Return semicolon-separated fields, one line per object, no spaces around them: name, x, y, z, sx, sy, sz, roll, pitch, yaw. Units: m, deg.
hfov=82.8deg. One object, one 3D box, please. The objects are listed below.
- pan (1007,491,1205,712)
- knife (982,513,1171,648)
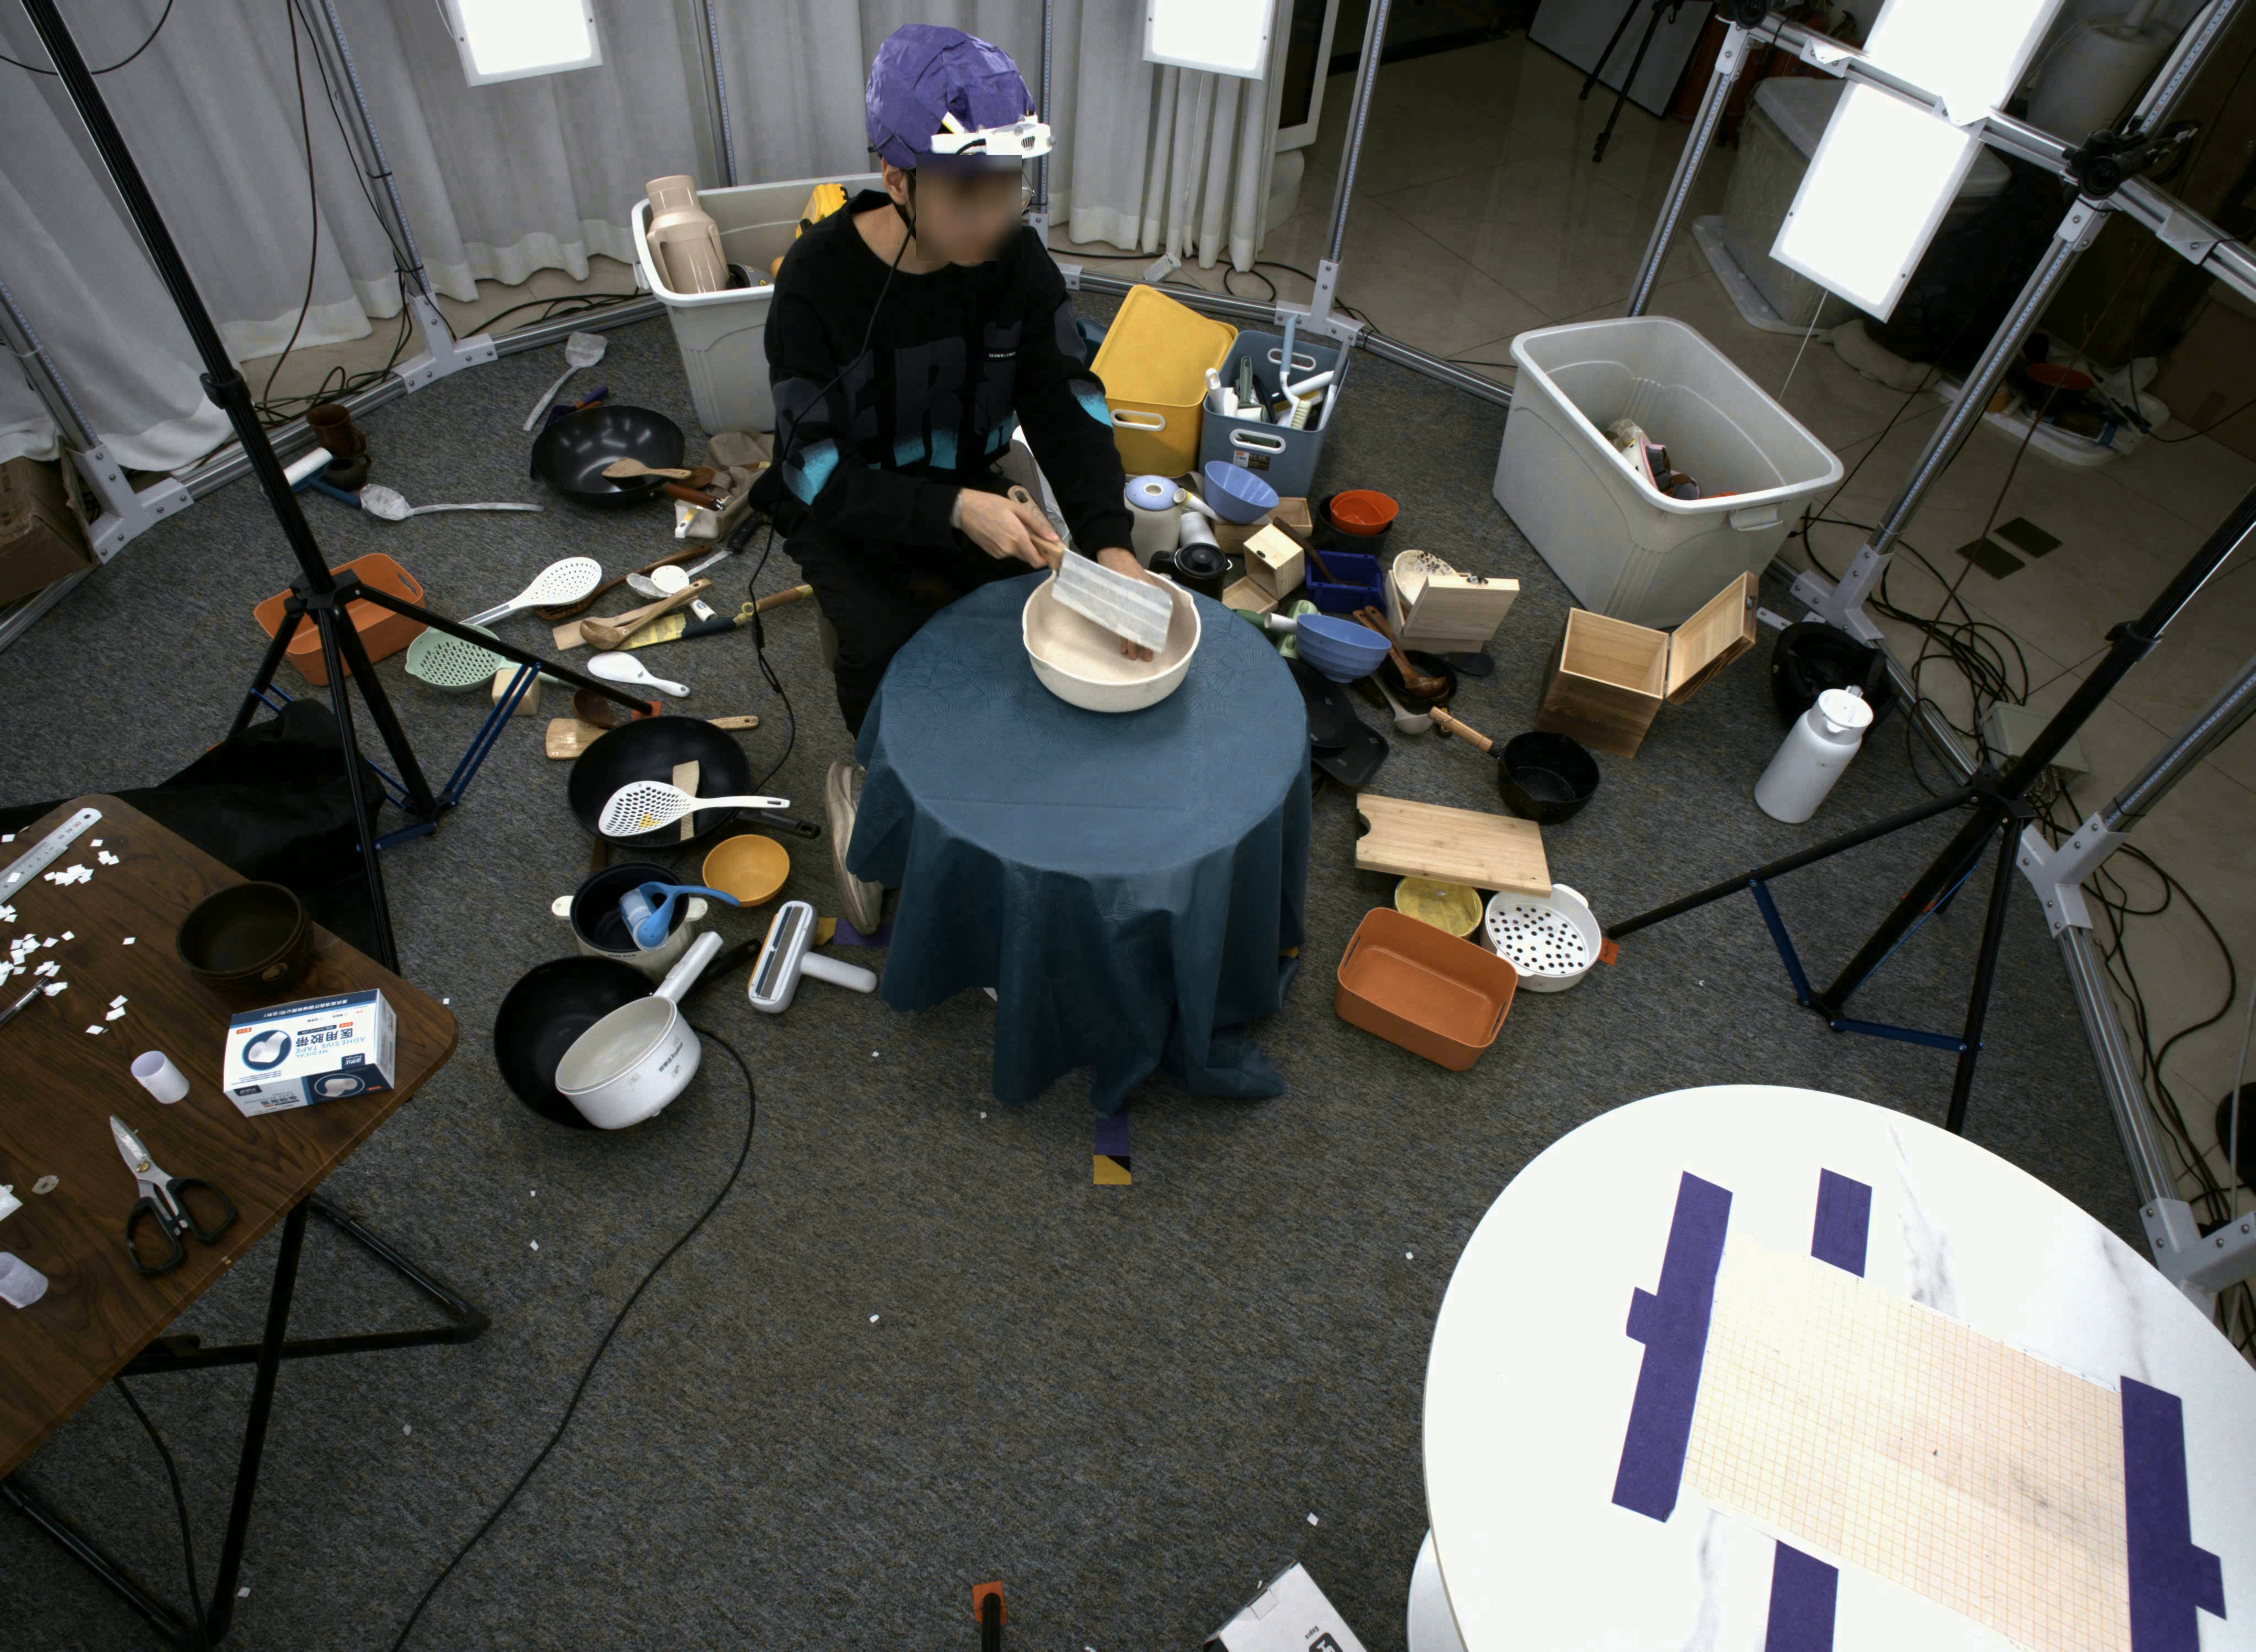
pan;-0.063;-0.333;1.890;0.264;0.099;0.444;-23;55;-19
knife;-0.071;-0.353;1.796;0.317;0.111;0.022;31;44;13
